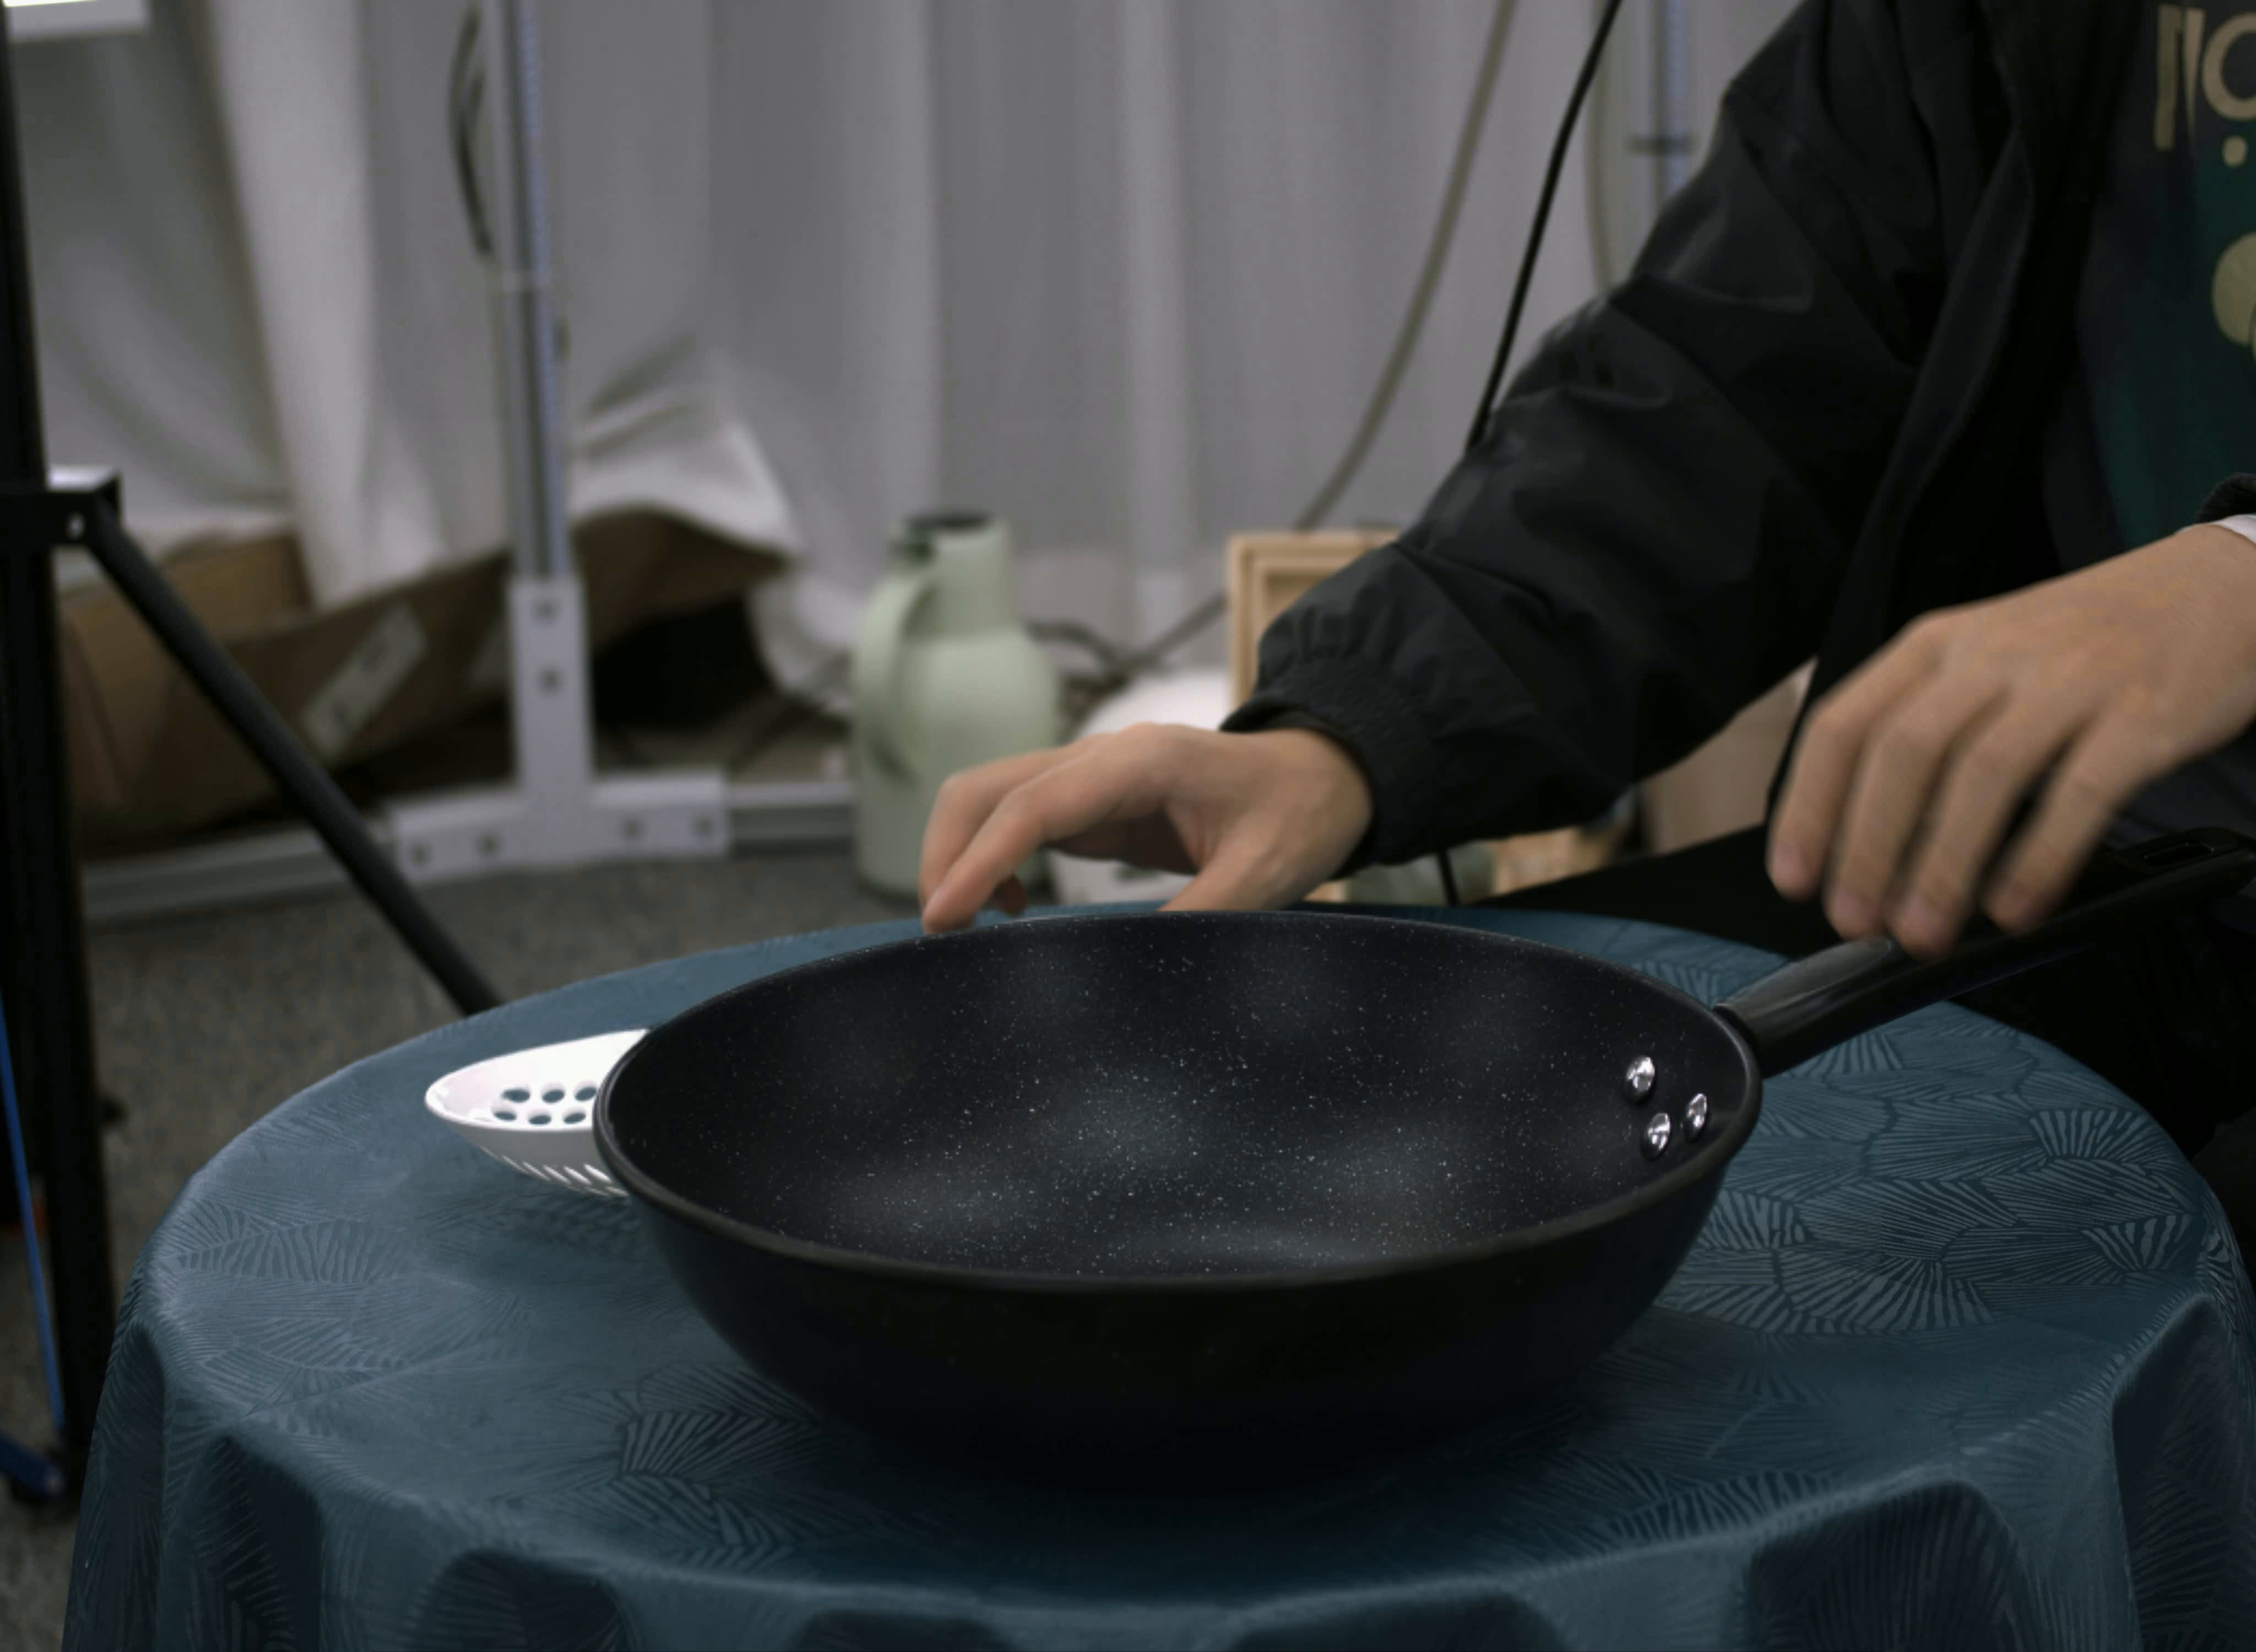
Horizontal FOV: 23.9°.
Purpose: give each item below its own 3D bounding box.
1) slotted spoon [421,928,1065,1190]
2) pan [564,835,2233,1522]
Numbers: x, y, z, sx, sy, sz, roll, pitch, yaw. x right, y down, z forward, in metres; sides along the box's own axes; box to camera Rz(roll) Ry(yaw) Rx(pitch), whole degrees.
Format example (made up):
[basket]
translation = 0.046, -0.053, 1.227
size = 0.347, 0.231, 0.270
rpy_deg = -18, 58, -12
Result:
[slotted spoon]
translation = -0.077, 0.061, 1.661
size = 0.139, 0.050, 0.341
rpy_deg = 0, 14, 35
[pan]
translation = 0.086, 0.088, 1.423
size = 0.469, 0.111, 0.315
rpy_deg = -8, 18, -17
